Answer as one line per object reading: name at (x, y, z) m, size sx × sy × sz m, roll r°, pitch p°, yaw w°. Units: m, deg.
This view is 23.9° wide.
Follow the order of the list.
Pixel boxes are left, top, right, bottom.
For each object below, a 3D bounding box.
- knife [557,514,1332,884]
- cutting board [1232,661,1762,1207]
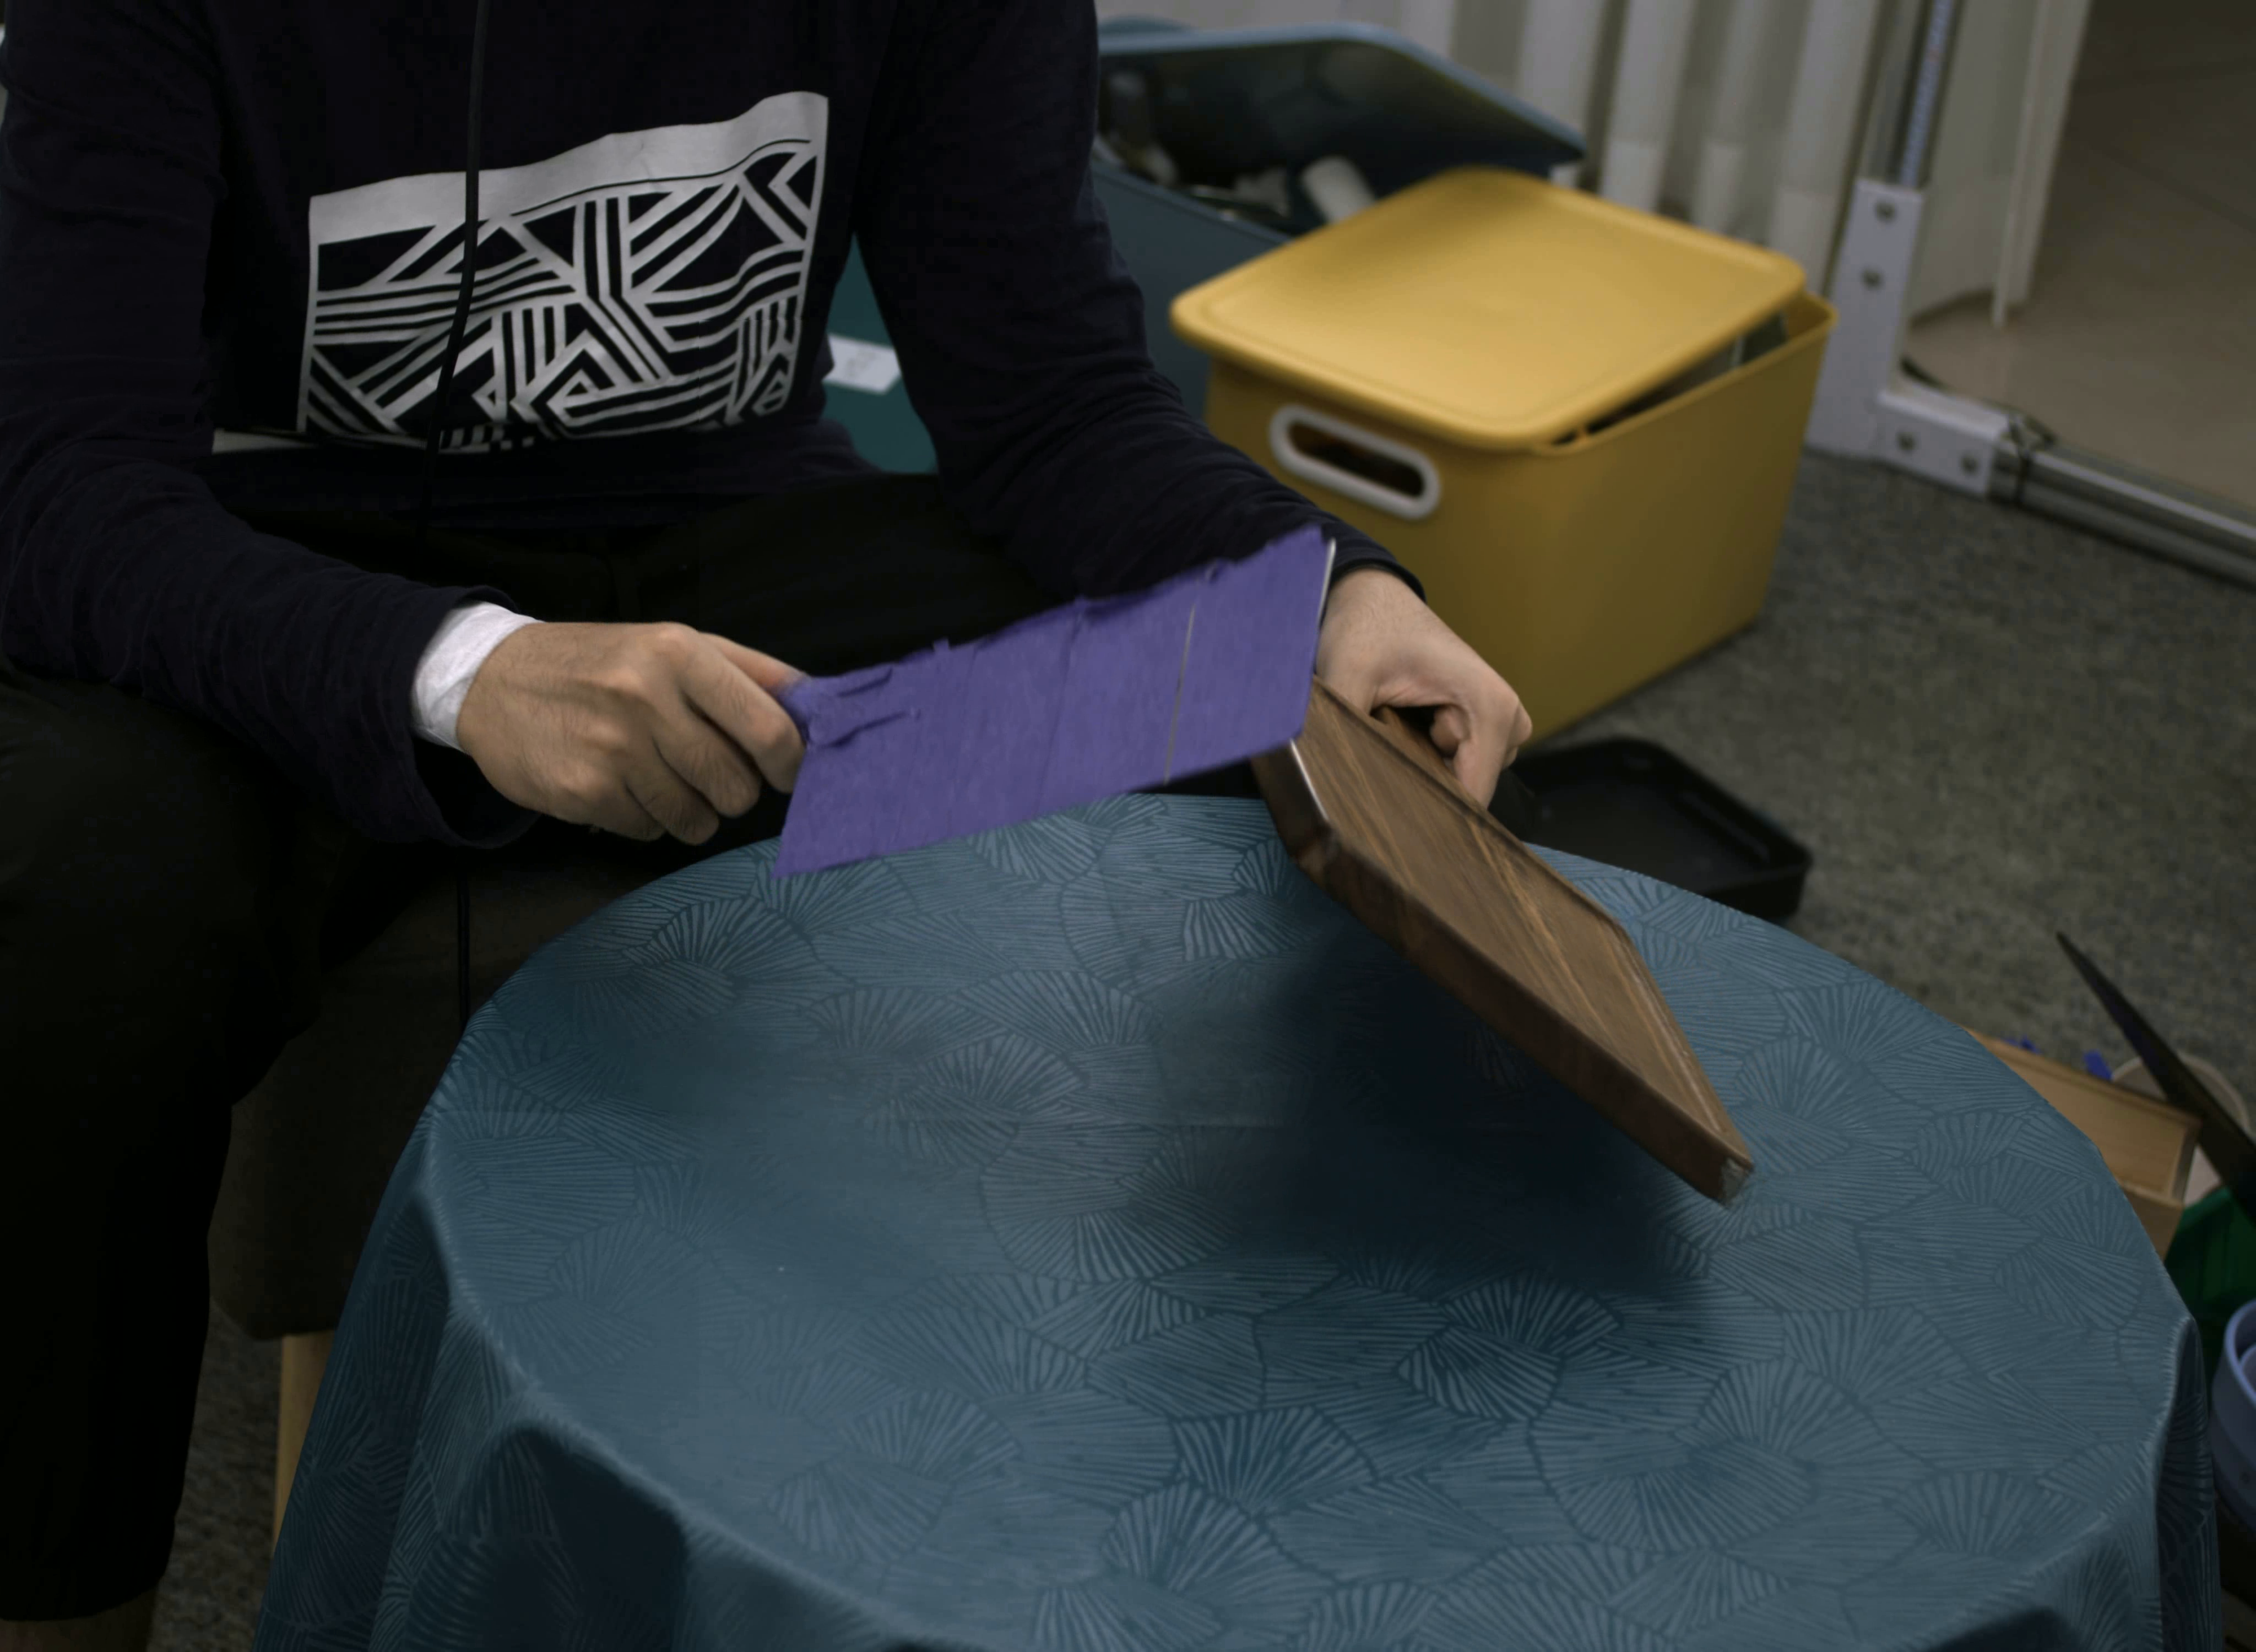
knife at (-0.071, -0.028, 1.782) m, size 0.316 × 0.032 × 0.104 m, roll -17°, pitch 41°, yaw 32°
cutting board at (0.115, 0.011, 1.897) m, size 0.200 × 0.023 × 0.354 m, roll 38°, pitch 11°, yaw -15°
